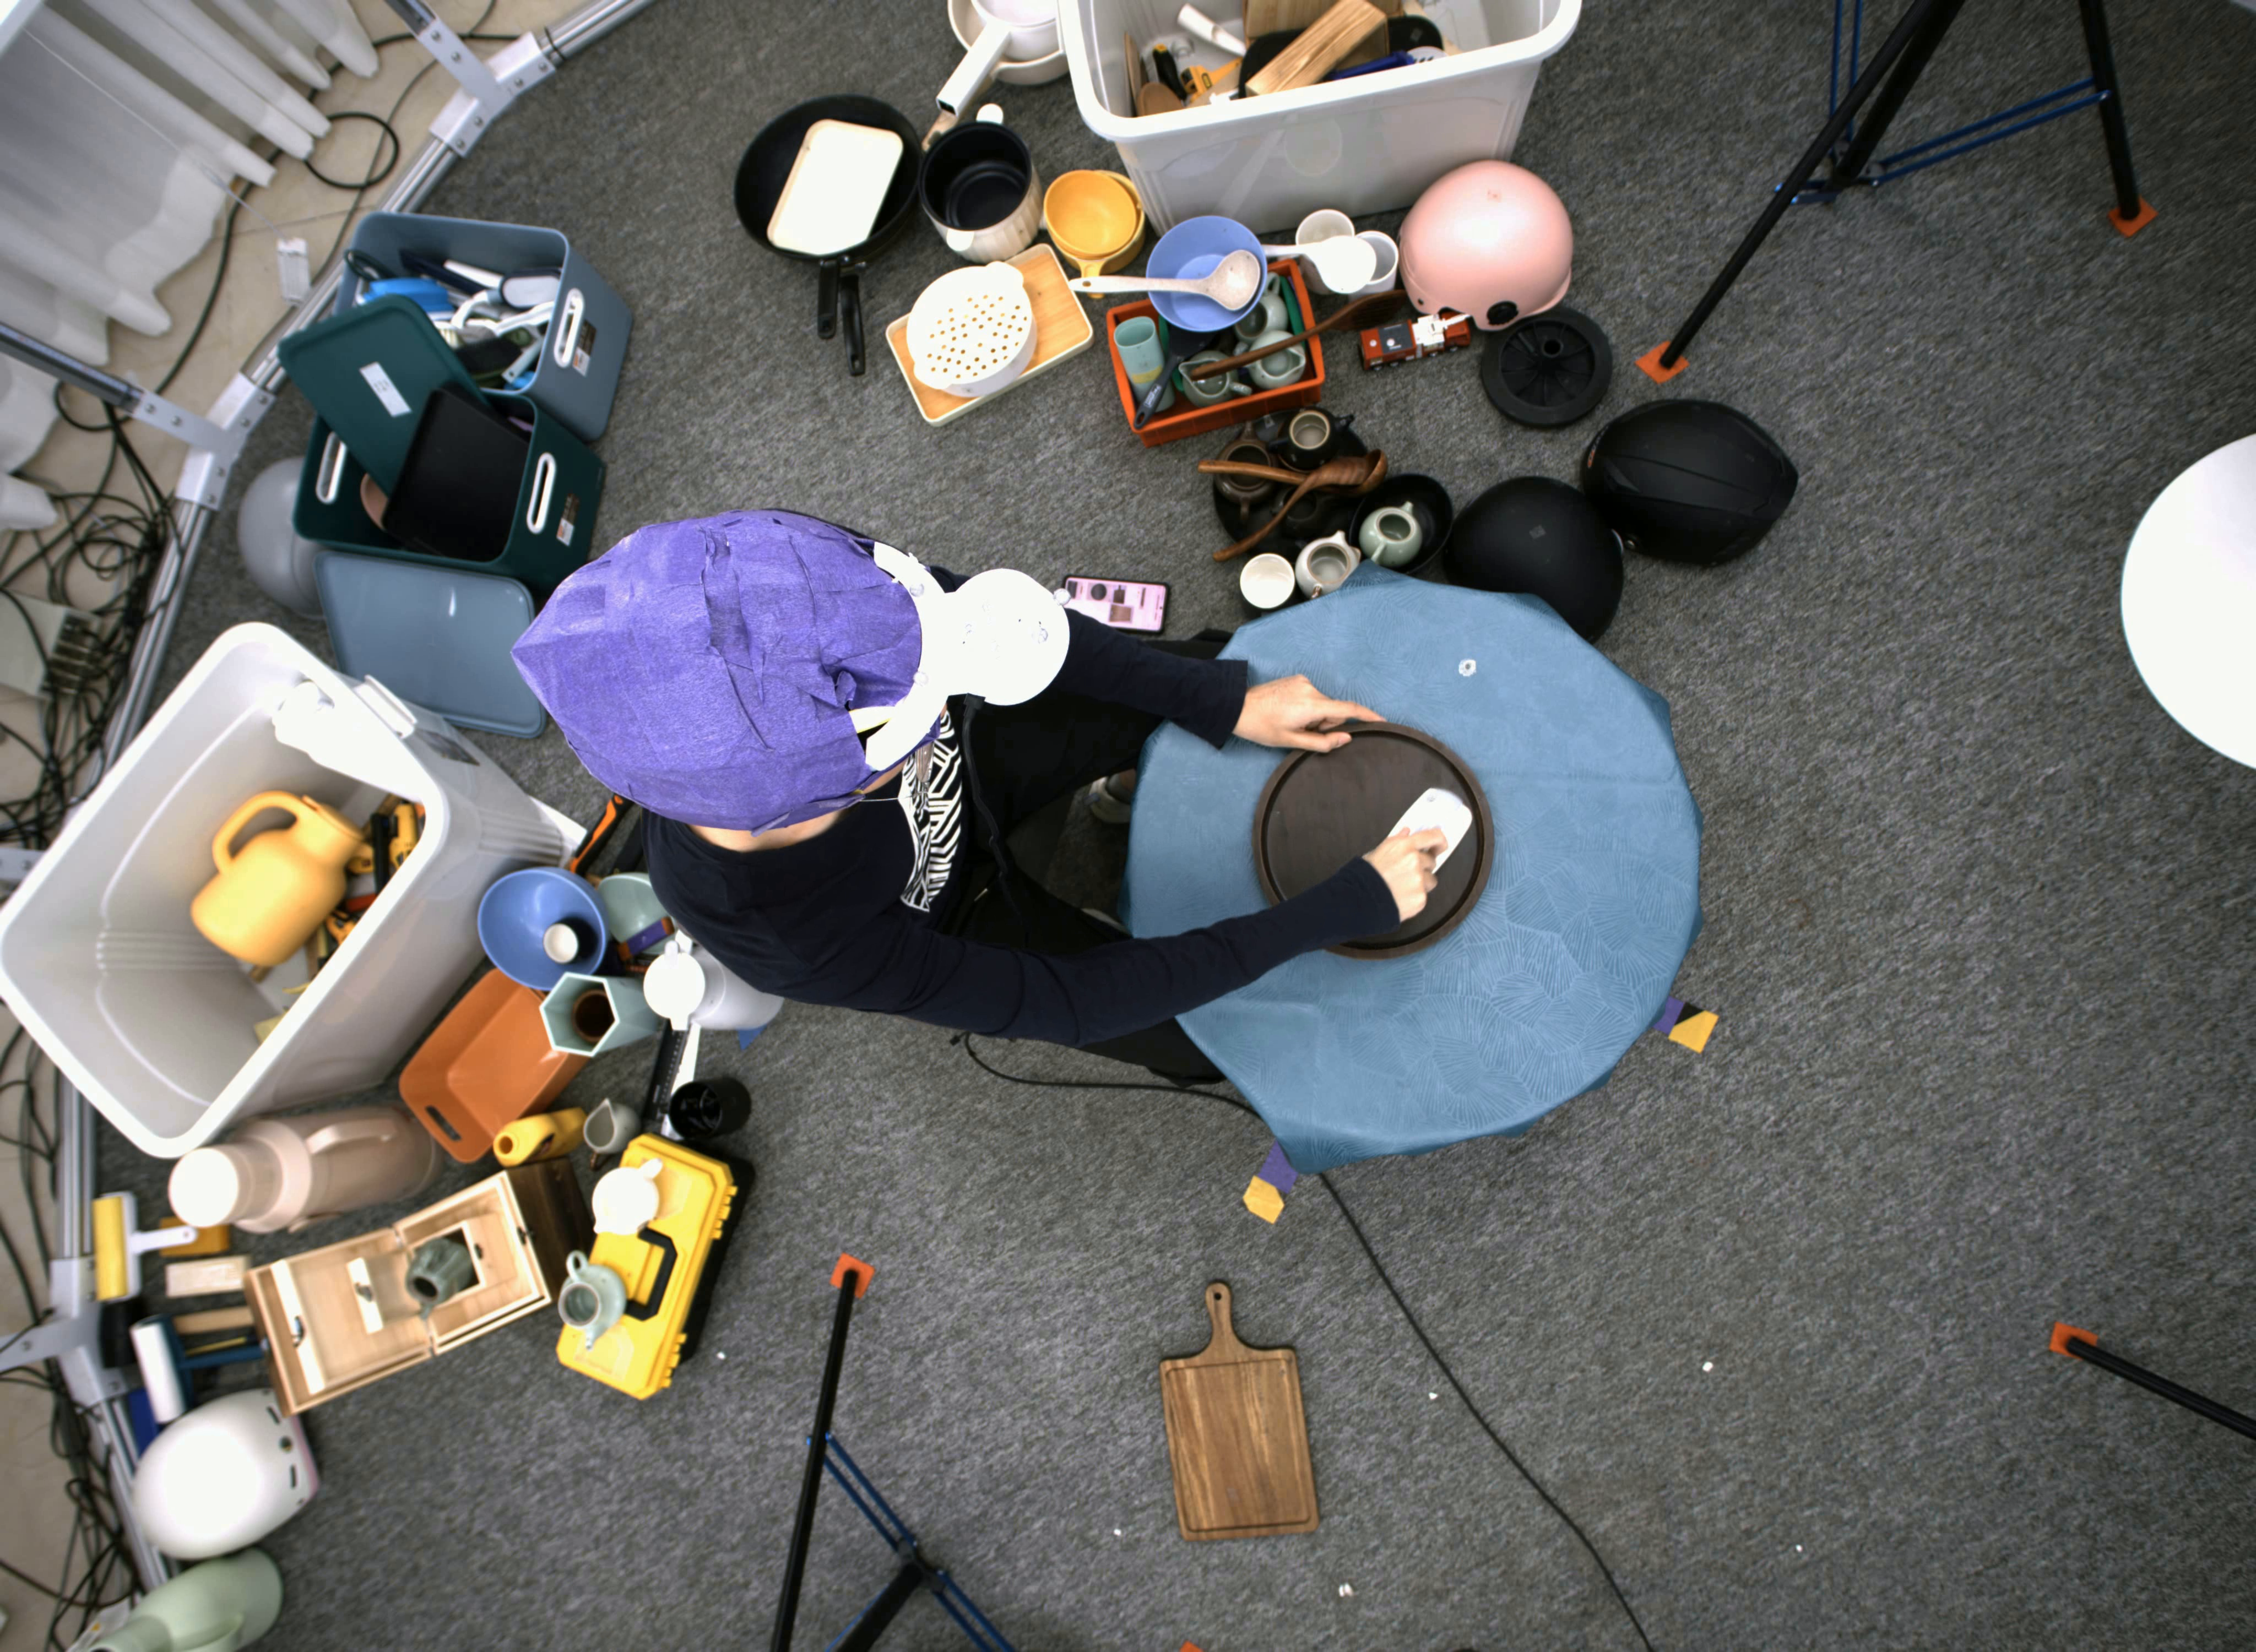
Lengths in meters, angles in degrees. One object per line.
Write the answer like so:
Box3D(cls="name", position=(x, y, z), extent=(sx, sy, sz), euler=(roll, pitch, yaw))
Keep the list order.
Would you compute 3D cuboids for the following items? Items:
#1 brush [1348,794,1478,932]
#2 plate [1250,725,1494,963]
Box3D(cls="brush", position=(0.281, 0.040, 1.390), extent=(0.061, 0.094, 0.176), euler=(43, 95, 10))
Box3D(cls="plate", position=(0.256, 0.017, 1.456), extent=(0.256, 0.029, 0.253), euler=(-1, 87, 10))
